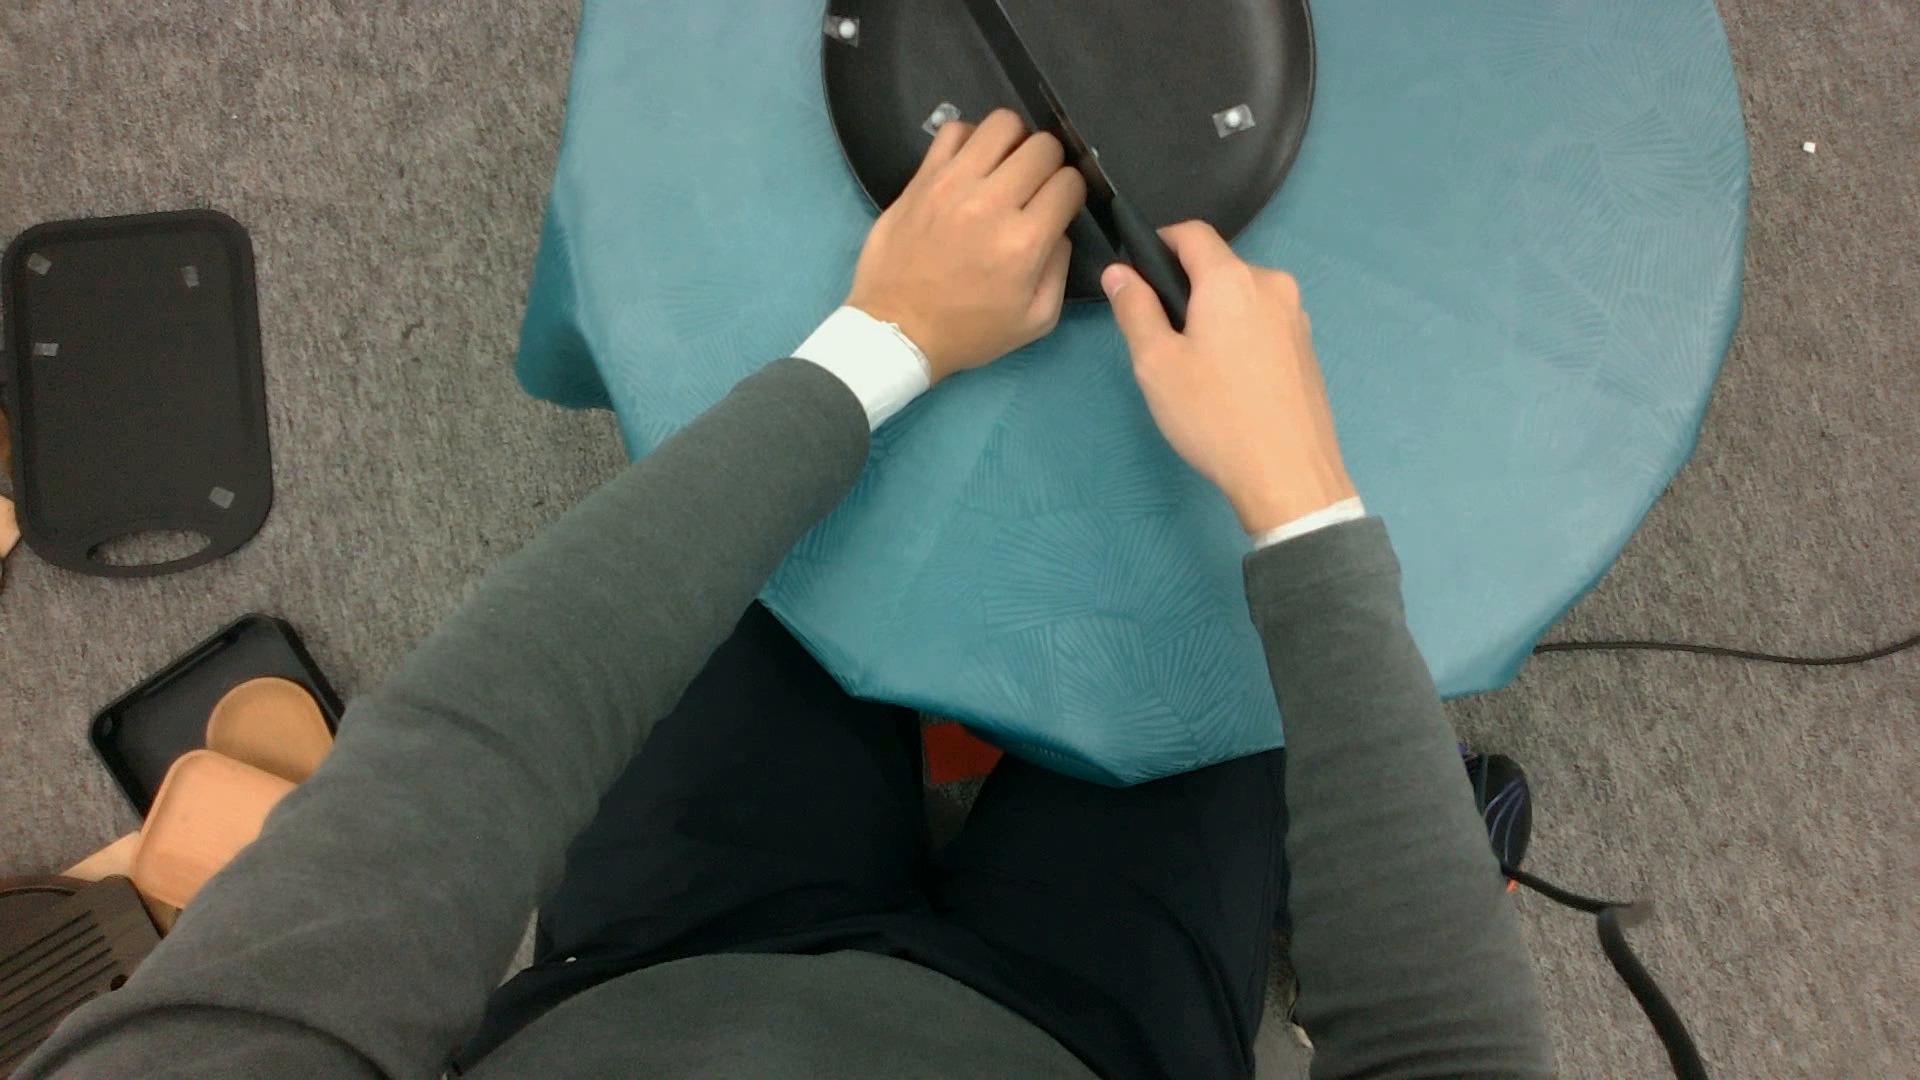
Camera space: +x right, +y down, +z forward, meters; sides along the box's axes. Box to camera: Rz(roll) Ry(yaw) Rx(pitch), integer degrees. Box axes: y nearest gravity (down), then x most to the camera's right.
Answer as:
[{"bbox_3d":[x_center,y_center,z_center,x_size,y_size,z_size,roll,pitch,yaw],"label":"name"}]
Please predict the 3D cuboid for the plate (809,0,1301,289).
[{"bbox_3d":[0.047,-0.242,0.686,0.244,0.023,0.244,0,85,-2],"label":"plate"}]

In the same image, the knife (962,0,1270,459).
[{"bbox_3d":[0.055,-0.169,0.628,0.021,0.081,0.302,-31,83,0],"label":"knife"}]
